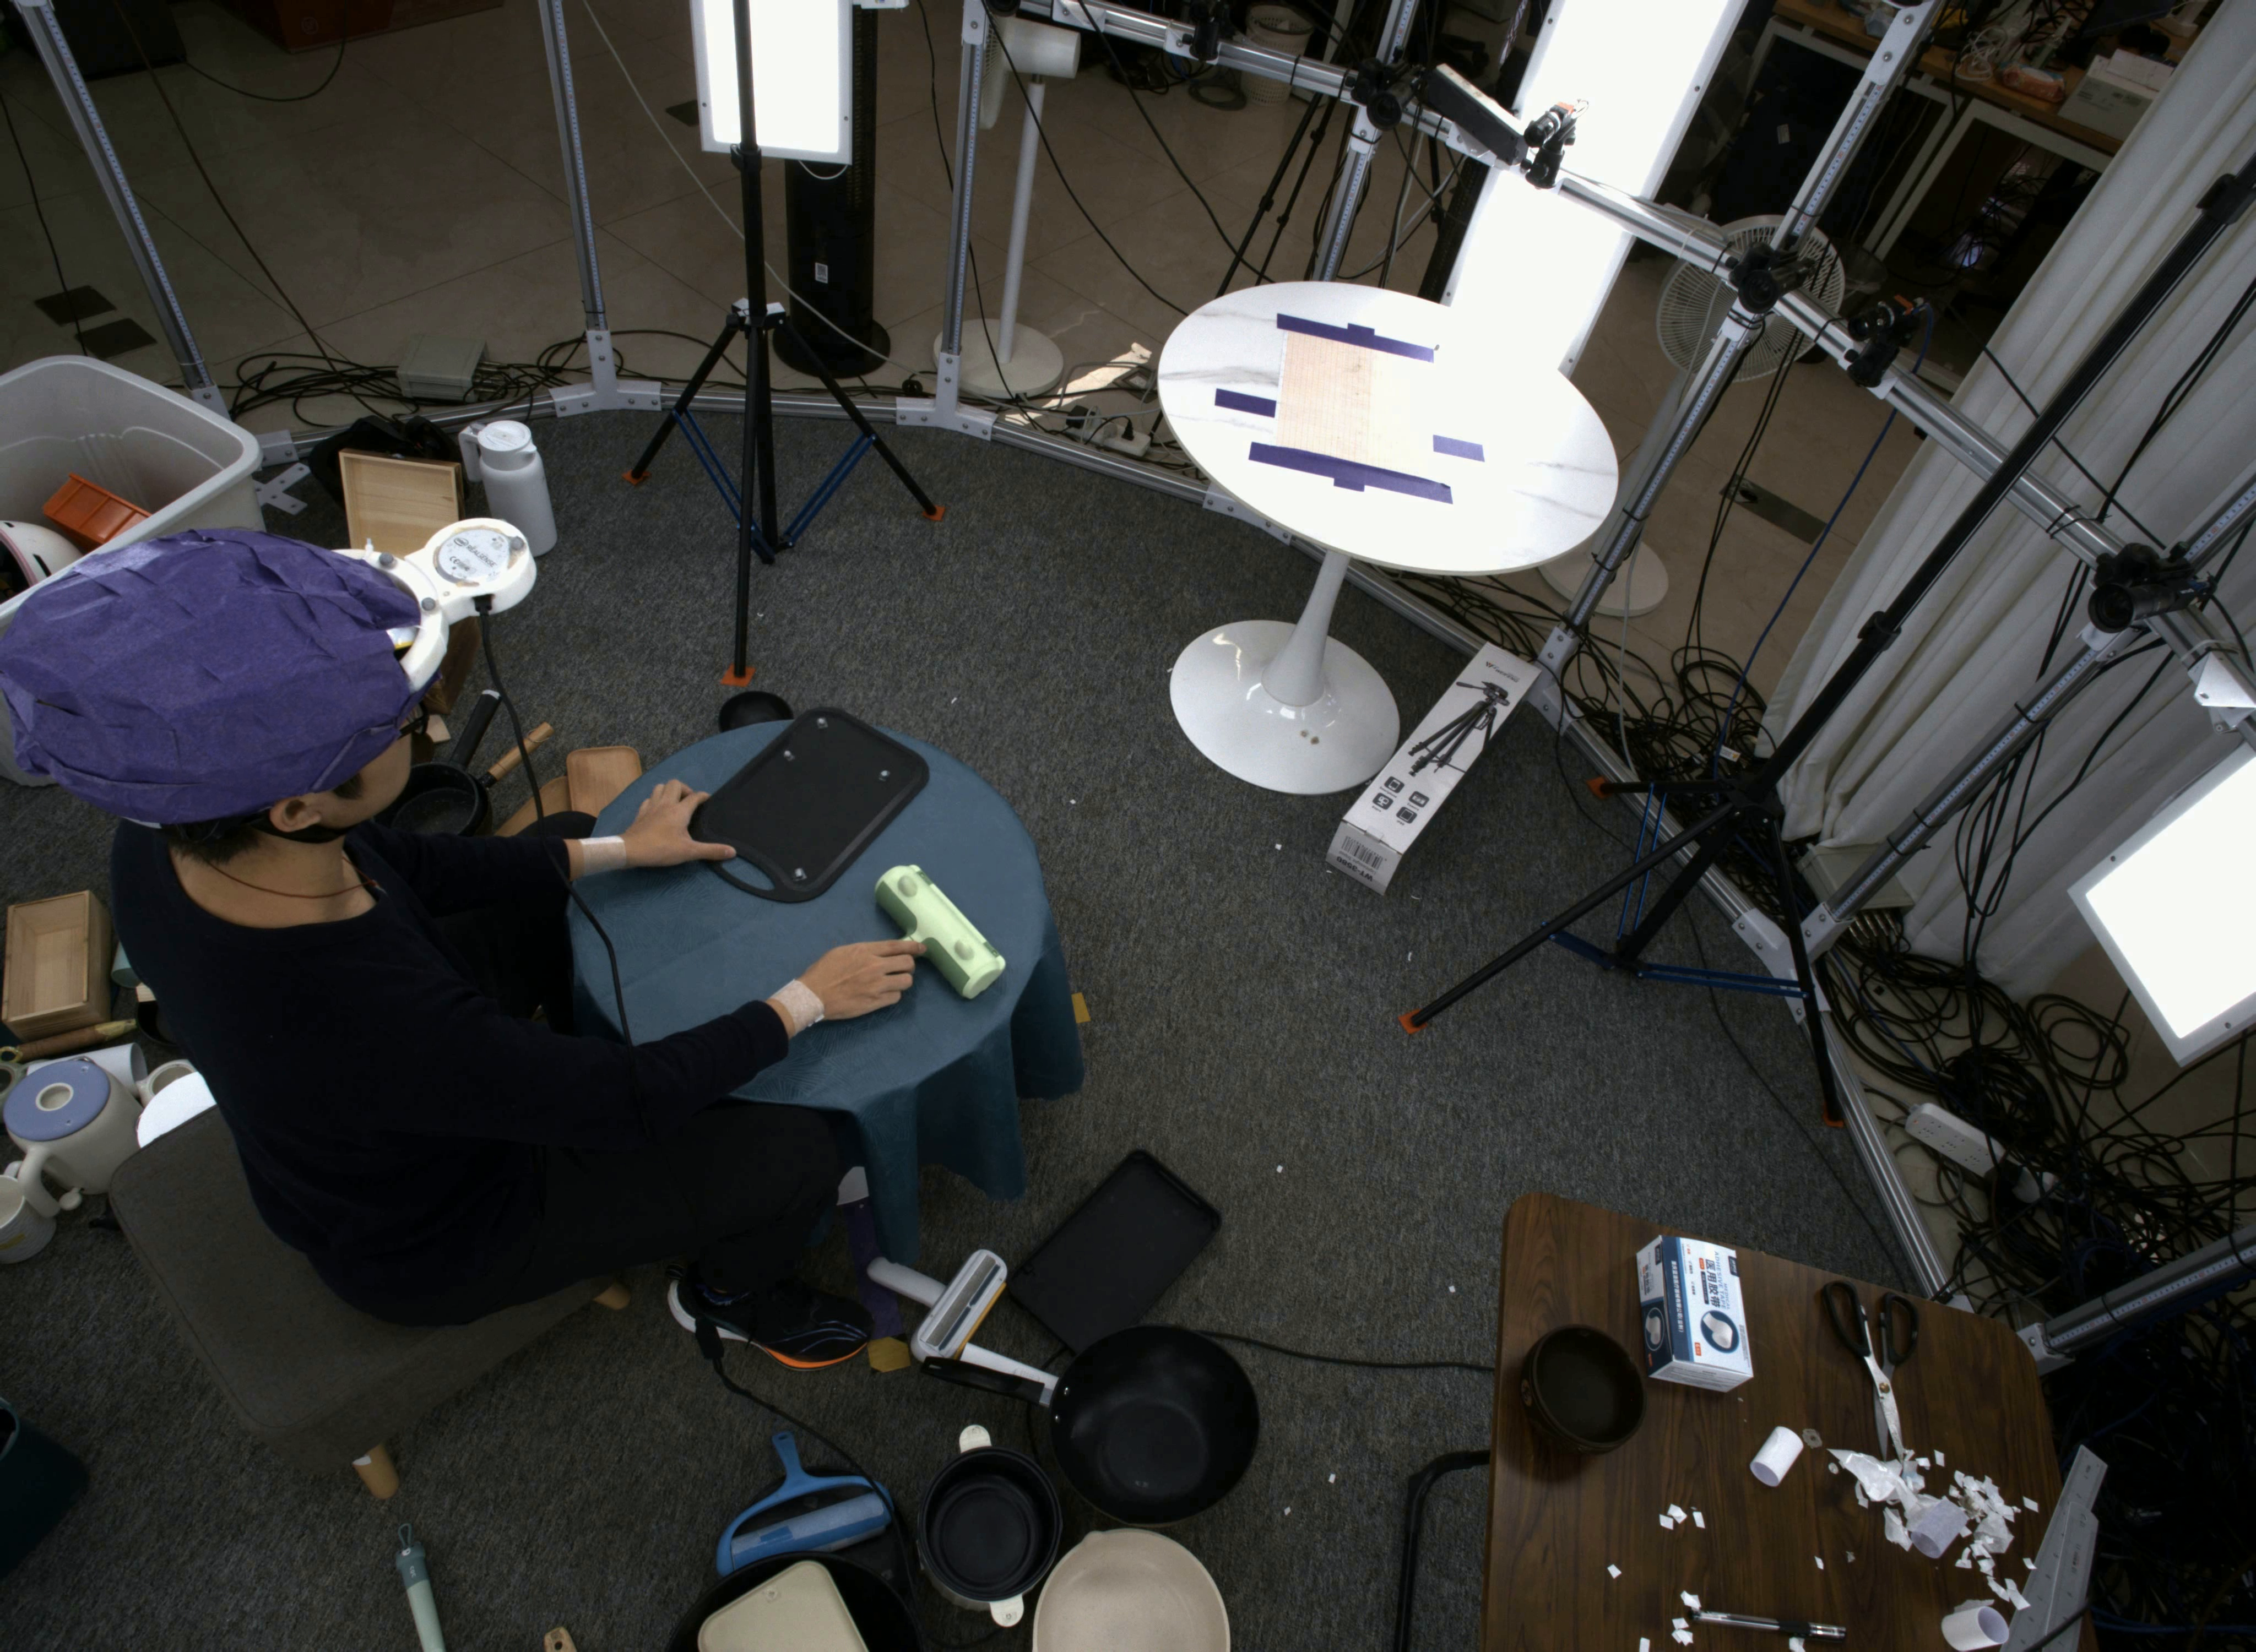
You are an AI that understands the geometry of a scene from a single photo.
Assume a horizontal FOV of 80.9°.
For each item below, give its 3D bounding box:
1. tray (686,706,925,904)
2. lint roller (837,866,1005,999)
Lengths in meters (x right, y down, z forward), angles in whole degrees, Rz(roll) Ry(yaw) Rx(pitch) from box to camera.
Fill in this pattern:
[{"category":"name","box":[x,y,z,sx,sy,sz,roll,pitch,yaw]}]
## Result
[{"category":"tray","box":[-0.429,-0.032,1.730,0.208,0.010,0.324,31,52,7]},{"category":"lint roller","box":[-0.276,0.141,1.588,0.194,0.083,0.184,43,44,20]}]
